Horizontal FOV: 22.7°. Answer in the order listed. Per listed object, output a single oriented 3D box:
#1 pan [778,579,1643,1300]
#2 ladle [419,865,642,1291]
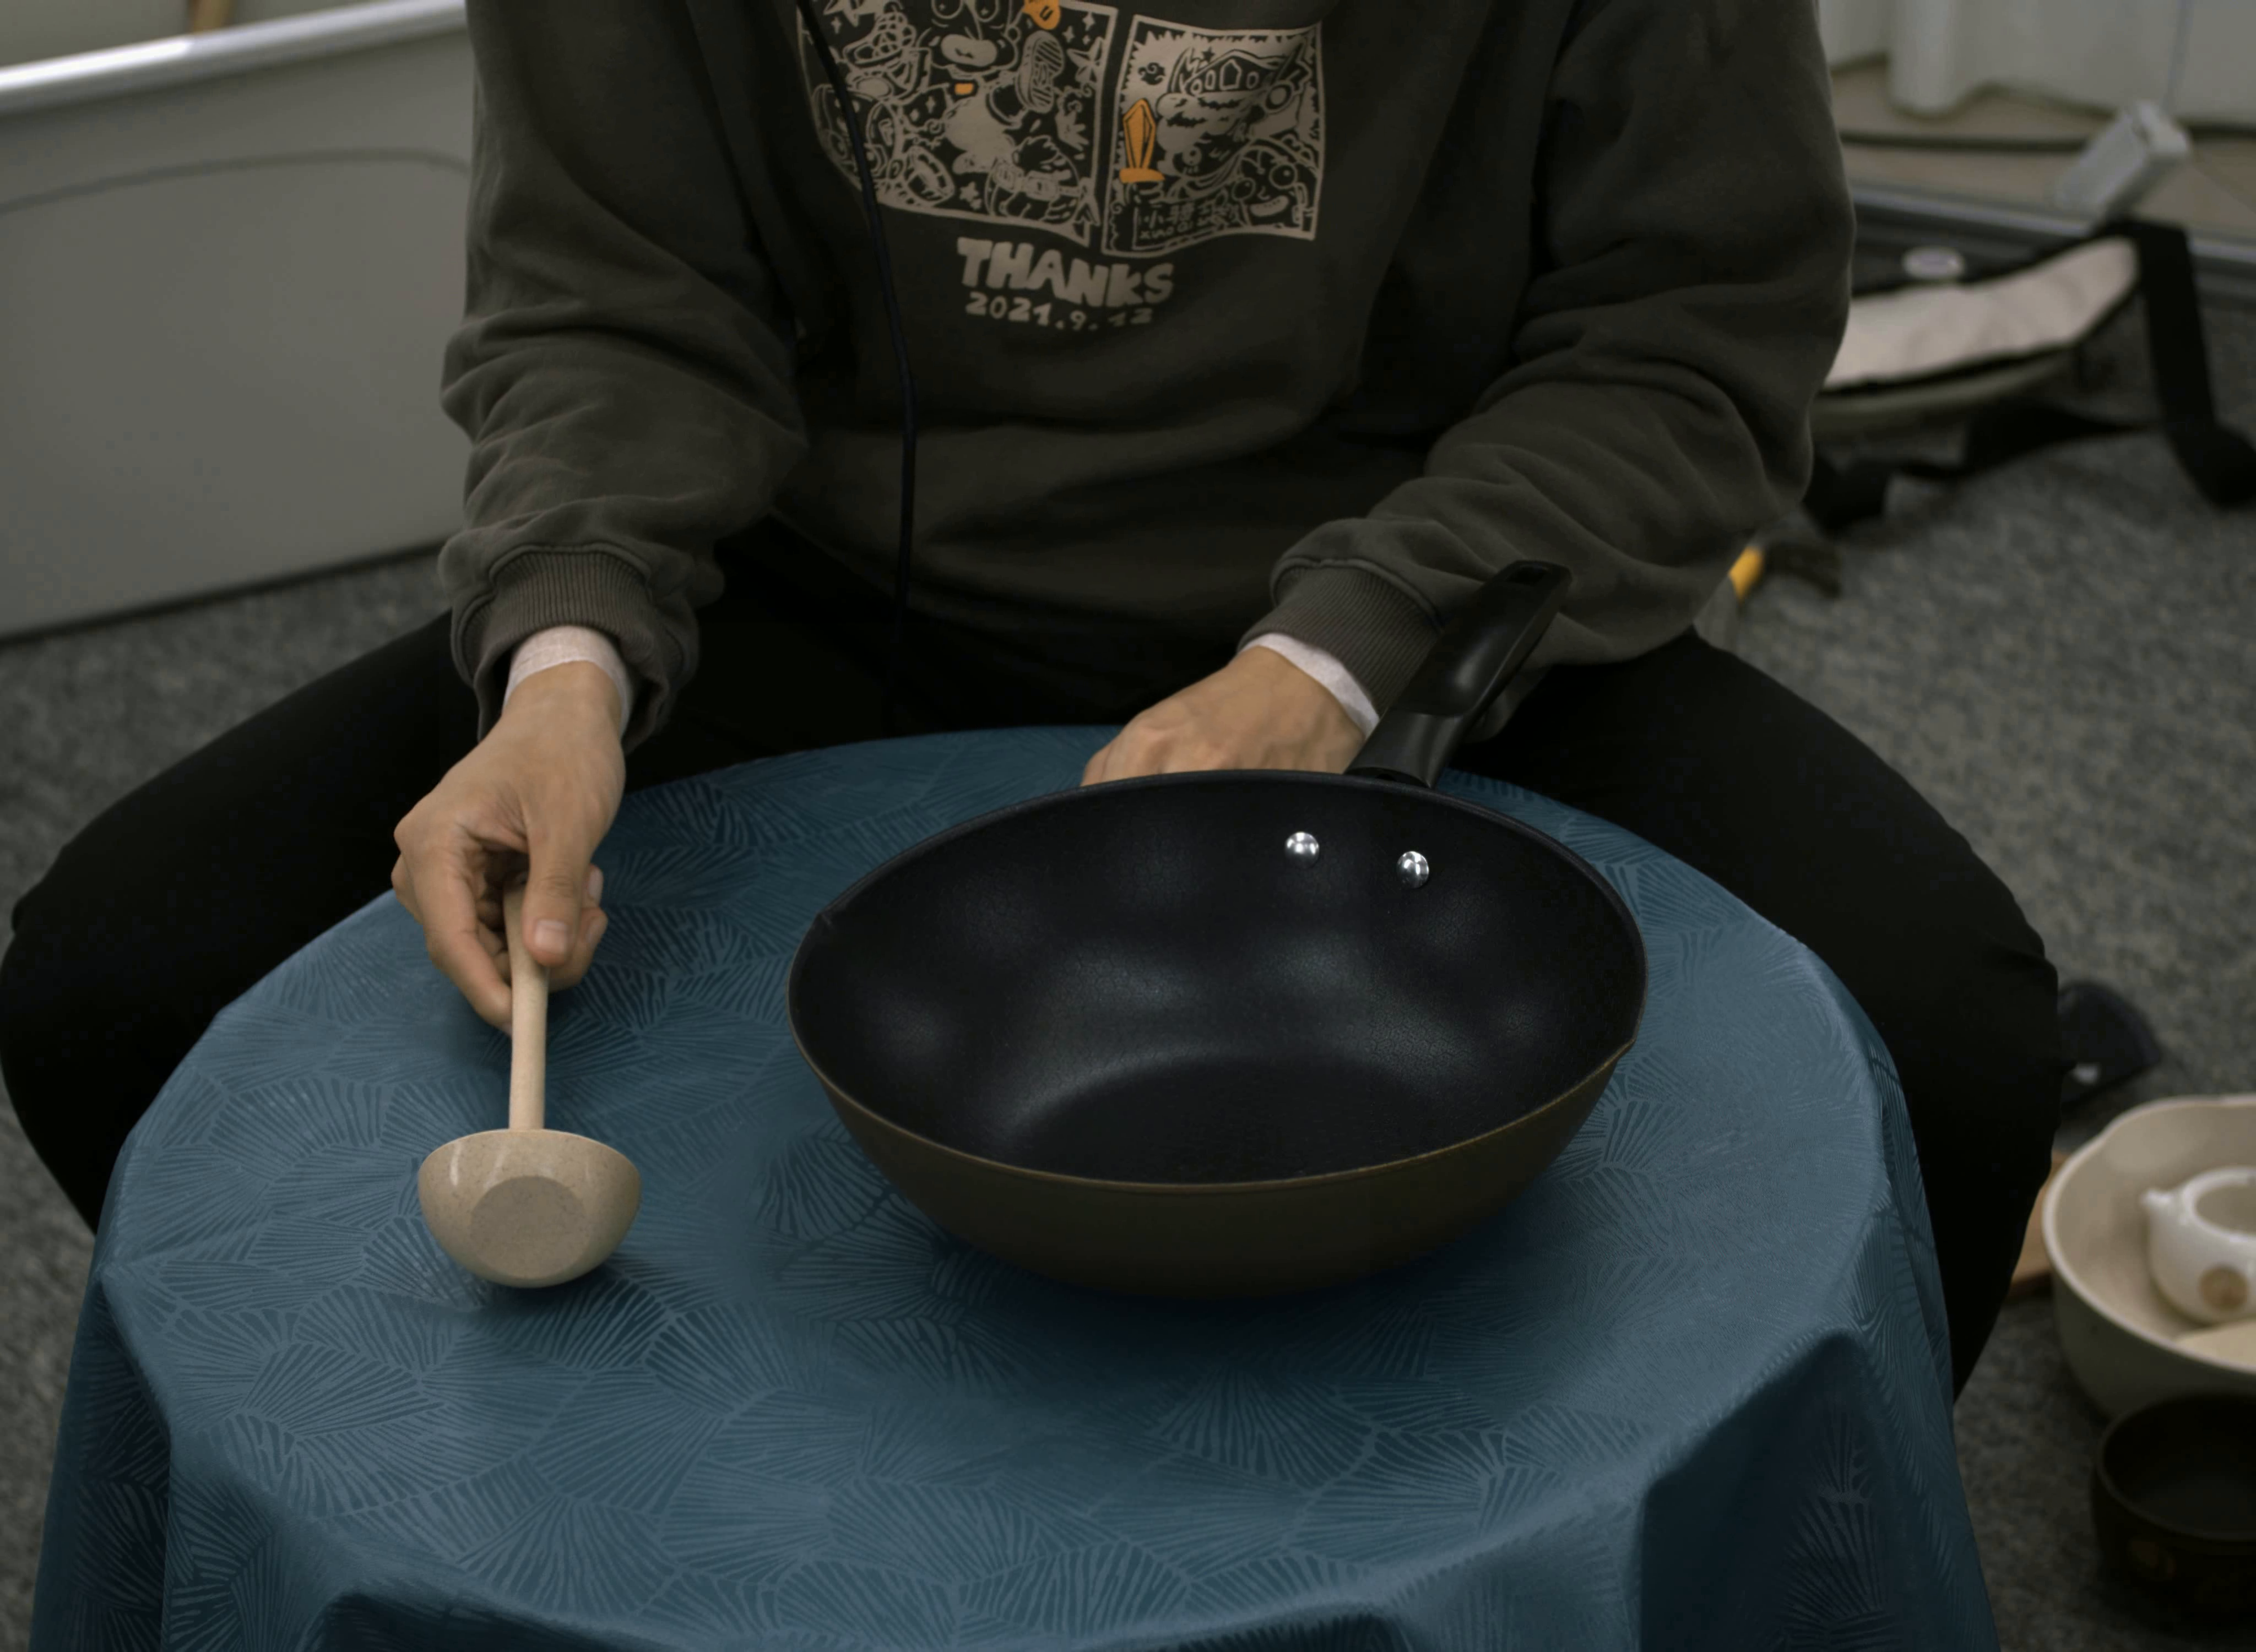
[{"bbox_3d":[0.064,0.039,1.923,0.286,0.086,0.471,9,29,22],"label":"pan"},{"bbox_3d":[-0.205,0.060,1.894,0.072,0.072,0.258,-2,35,-7],"label":"ladle"}]
